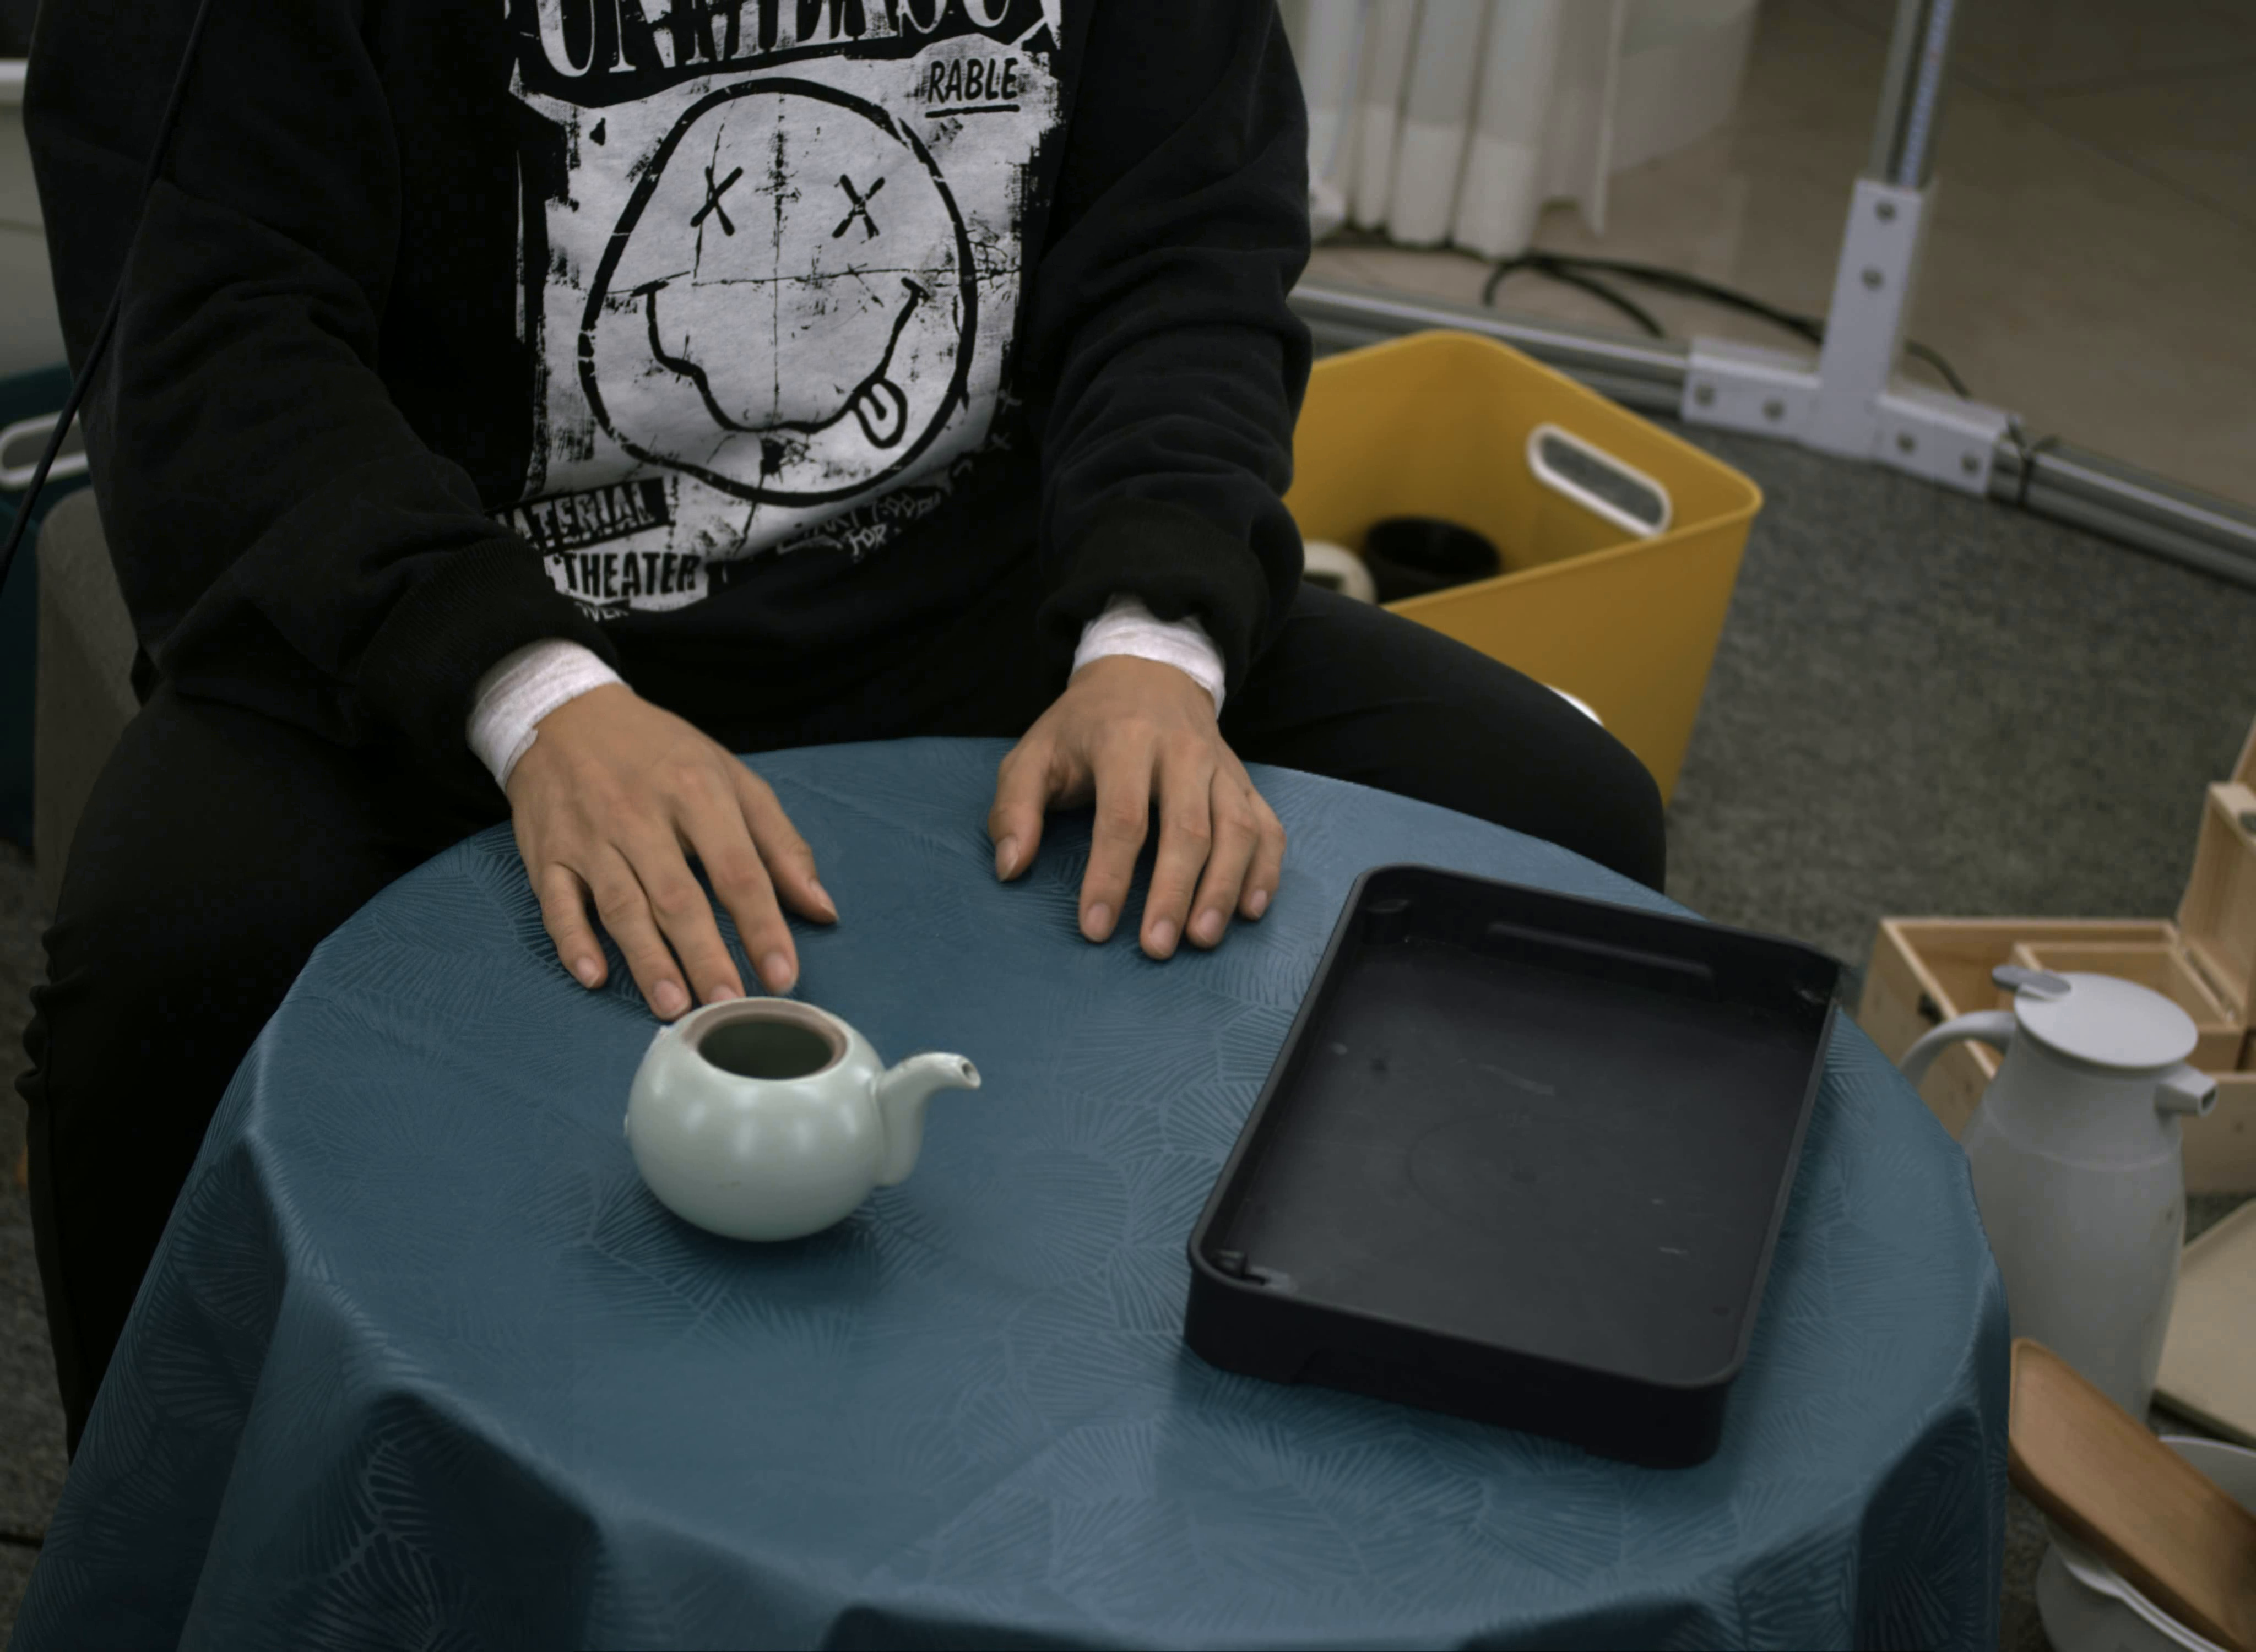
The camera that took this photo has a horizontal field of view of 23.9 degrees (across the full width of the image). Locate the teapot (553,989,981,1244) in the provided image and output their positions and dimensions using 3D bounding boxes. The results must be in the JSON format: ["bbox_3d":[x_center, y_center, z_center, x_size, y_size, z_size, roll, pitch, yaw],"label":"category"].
[{"bbox_3d":[-0.119,0.096,1.753,0.144,0.074,0.088,9,26,11],"label":"teapot"}]

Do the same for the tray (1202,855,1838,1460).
[{"bbox_3d":[0.139,0.107,1.831,0.184,0.037,0.319,10,27,8],"label":"tray"}]
